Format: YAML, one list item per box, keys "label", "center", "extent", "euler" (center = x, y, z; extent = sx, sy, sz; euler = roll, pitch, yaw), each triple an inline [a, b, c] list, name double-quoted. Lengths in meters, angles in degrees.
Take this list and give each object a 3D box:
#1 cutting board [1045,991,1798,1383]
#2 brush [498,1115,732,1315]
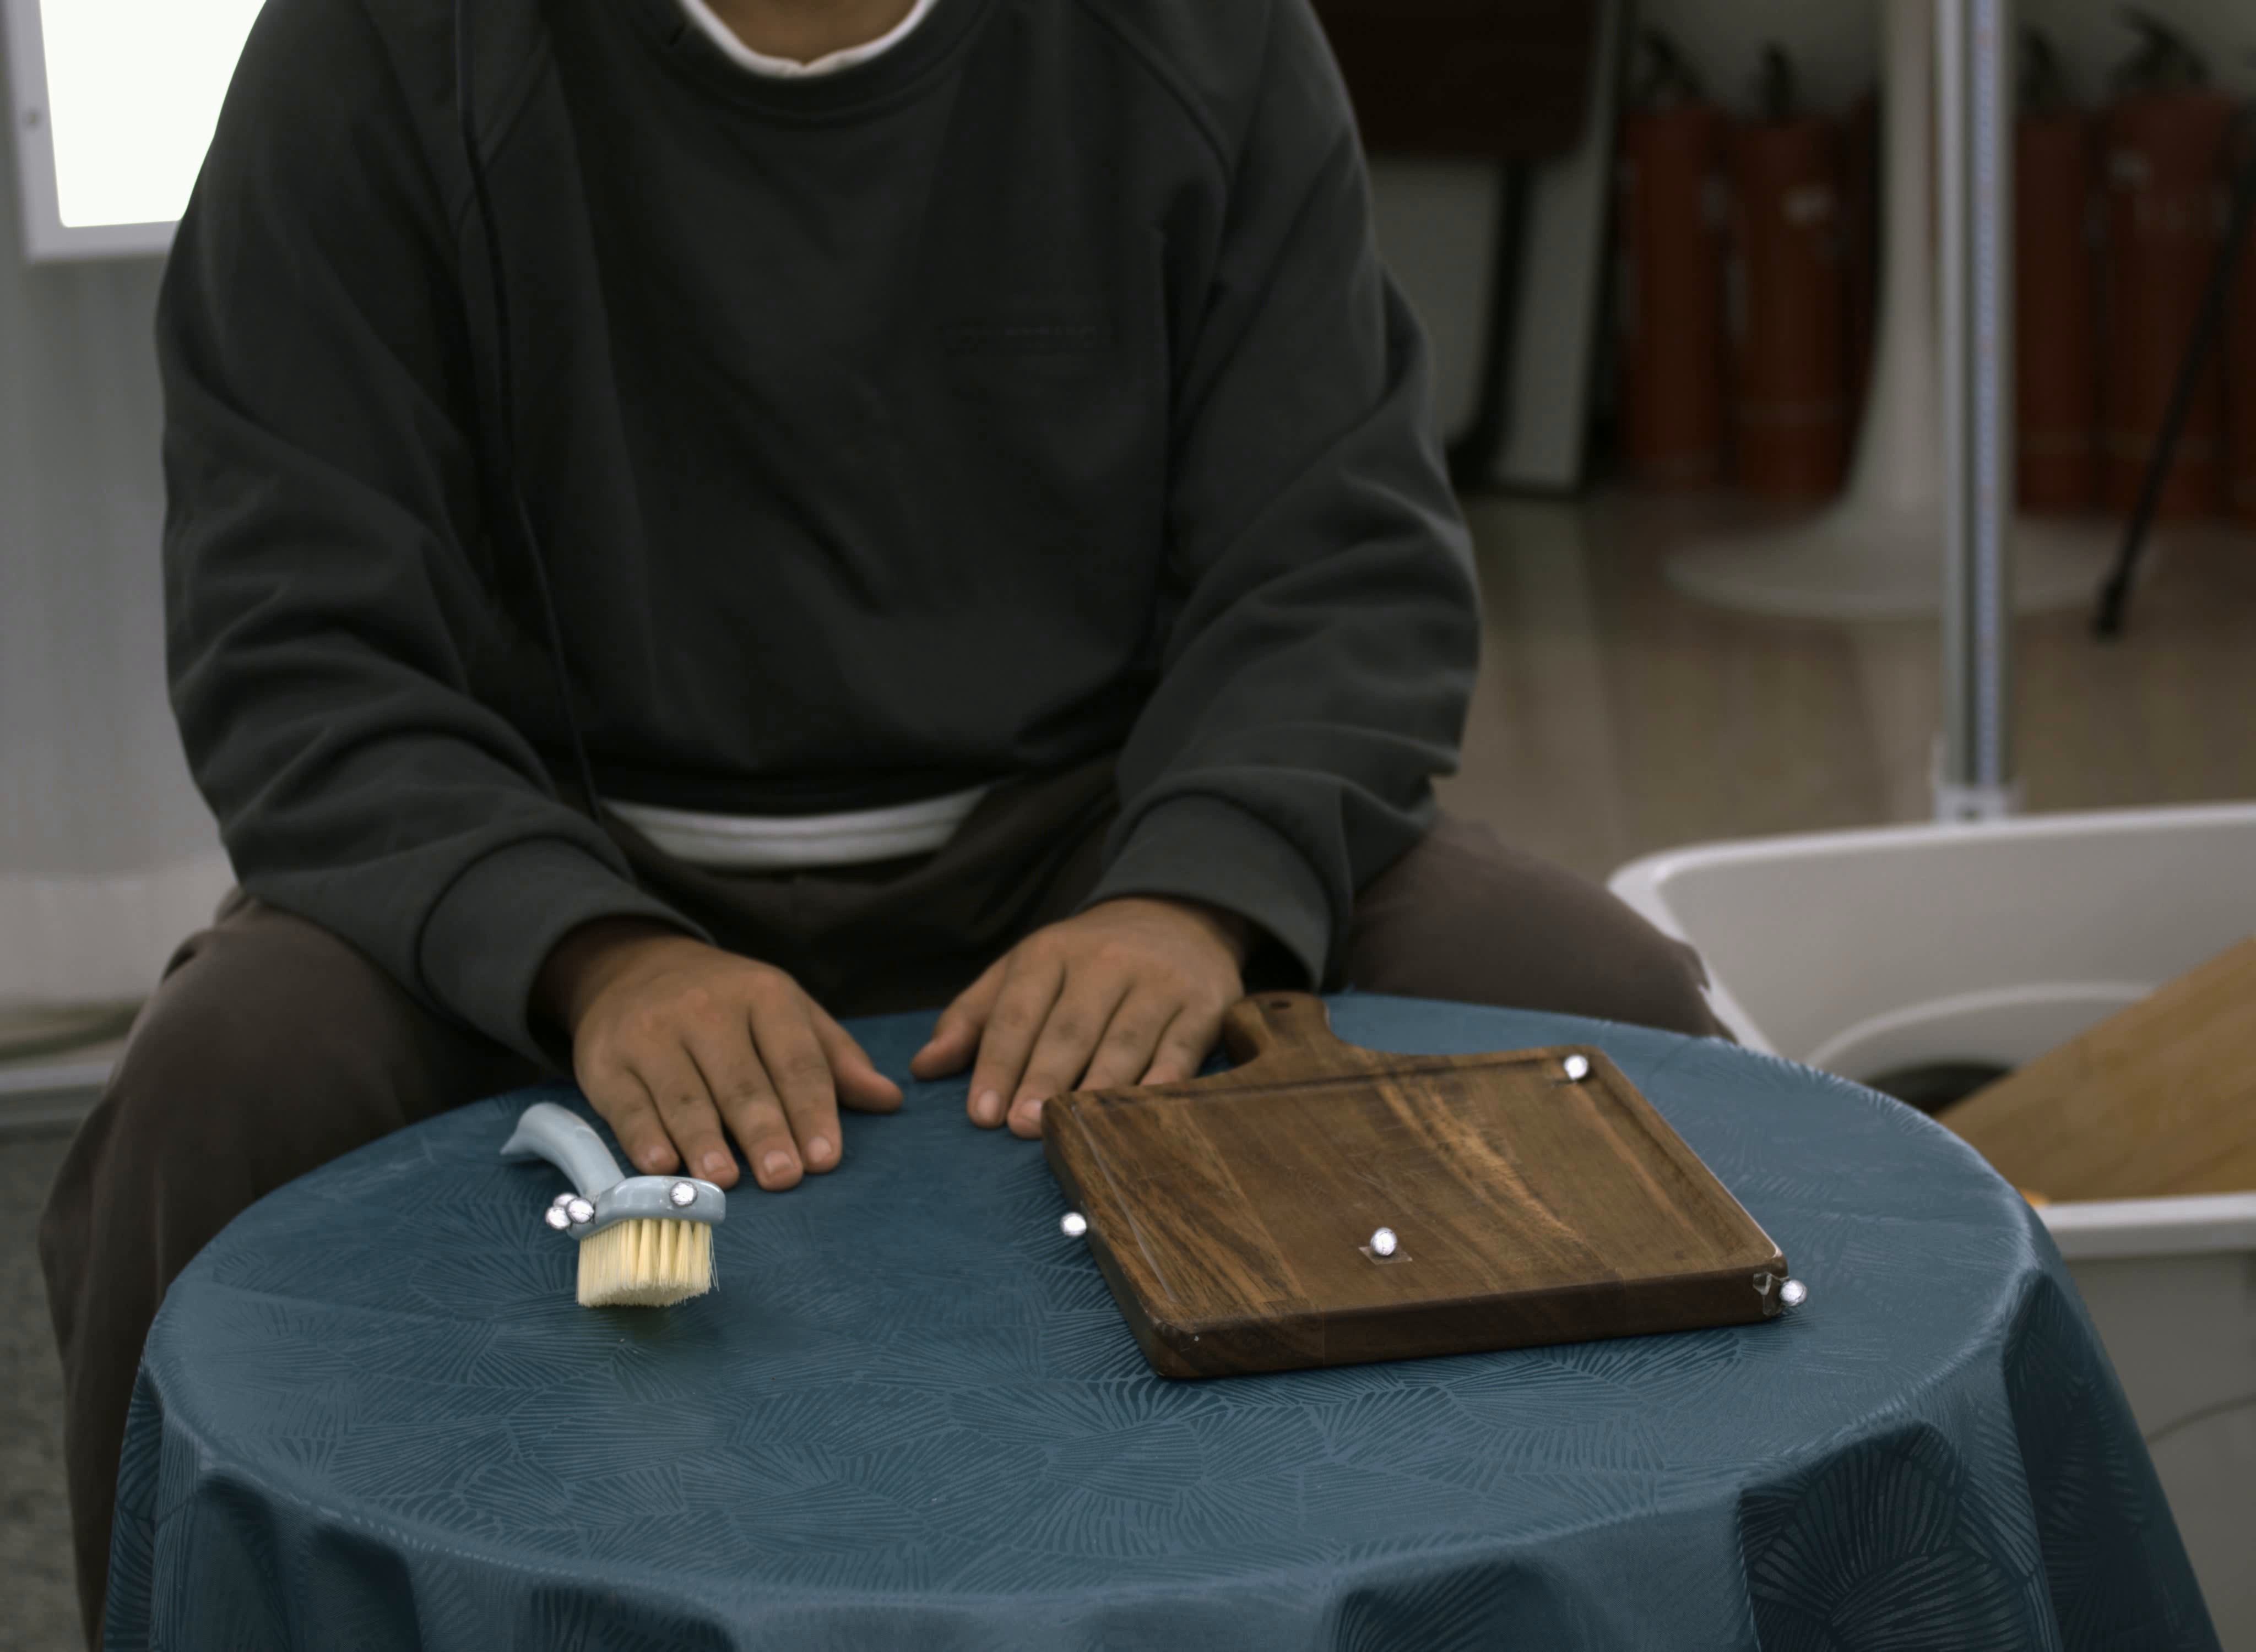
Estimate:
- label: "cutting board"
  center: [0.080, 0.108, 1.763]
  extent: [0.198, 0.023, 0.354]
  euler: [-5, 14, -7]
- label: "brush"
  center: [-0.171, 0.126, 1.739]
  extent: [0.037, 0.050, 0.230]
  euler: [5, 2, -19]
